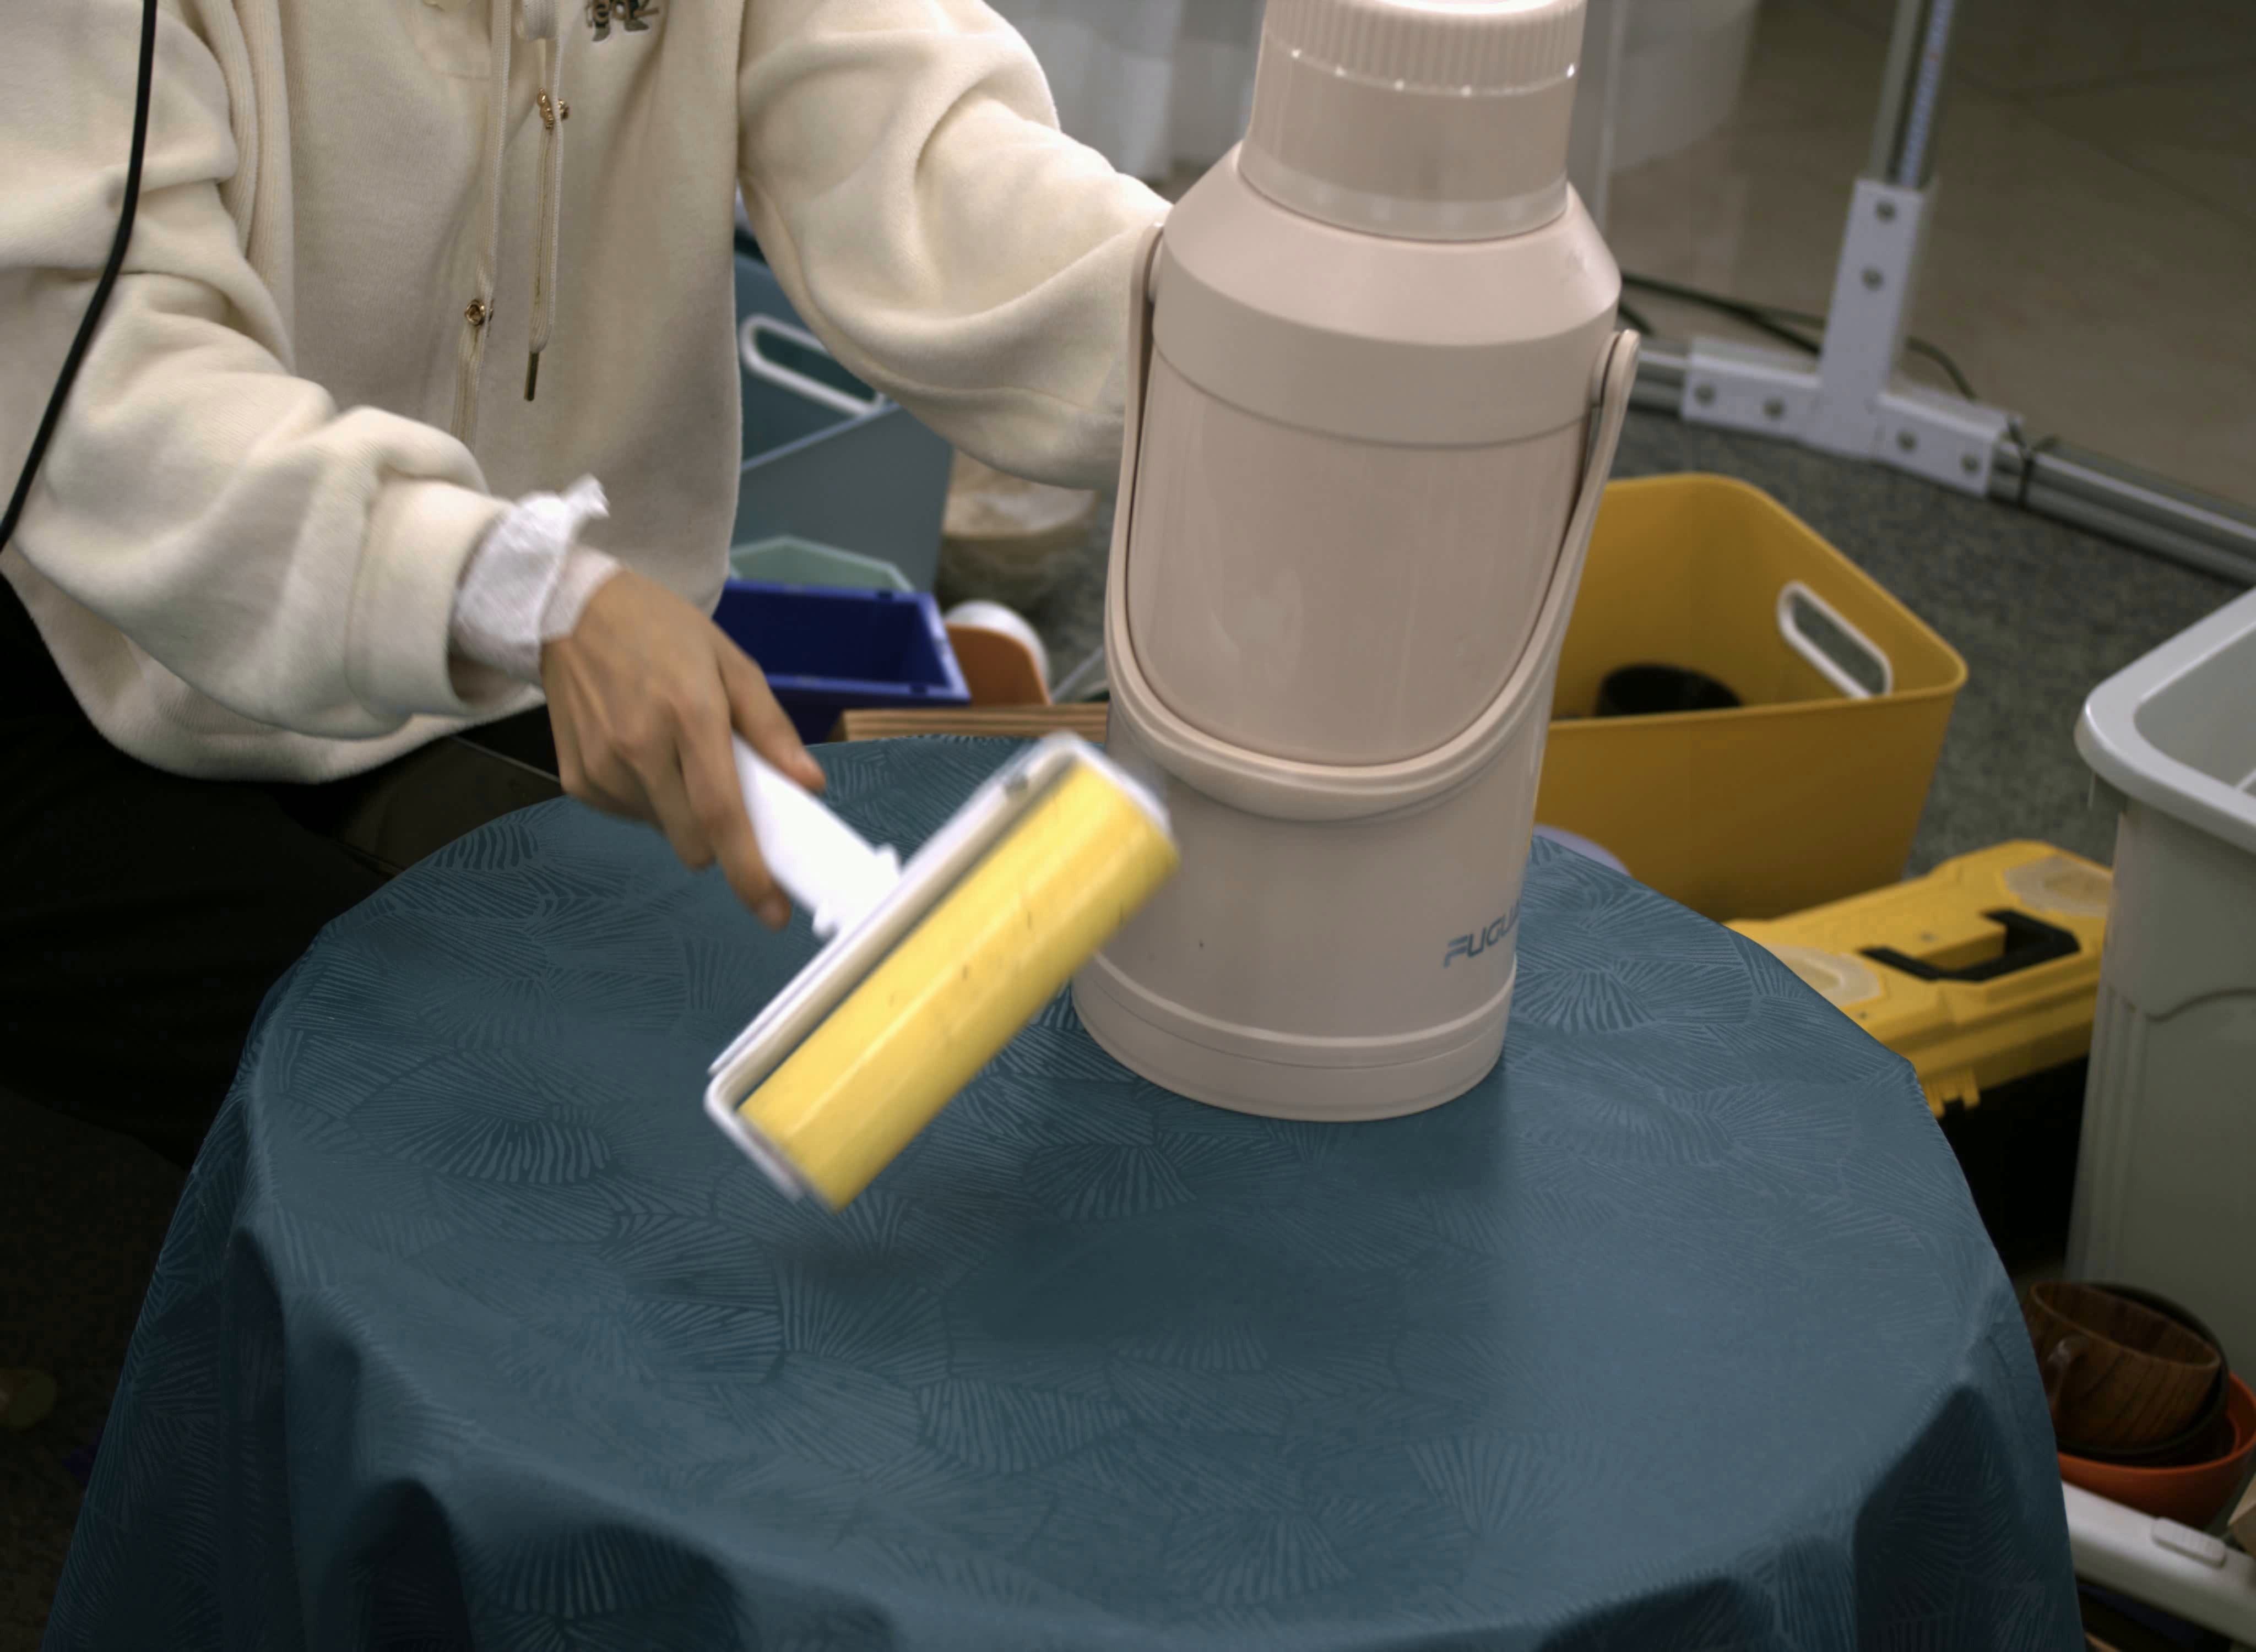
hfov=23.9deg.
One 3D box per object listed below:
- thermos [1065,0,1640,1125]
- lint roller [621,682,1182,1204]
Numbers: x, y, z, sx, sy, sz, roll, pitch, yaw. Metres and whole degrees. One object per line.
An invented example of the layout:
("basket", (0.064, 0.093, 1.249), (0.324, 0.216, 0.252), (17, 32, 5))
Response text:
("thermos", (0.084, -0.112, 1.848), (0.175, 0.405, 0.207), (14, 27, 14))
("lint roller", (-0.104, 0.006, 1.756), (0.193, 0.174, 0.051), (39, -7, 23))
